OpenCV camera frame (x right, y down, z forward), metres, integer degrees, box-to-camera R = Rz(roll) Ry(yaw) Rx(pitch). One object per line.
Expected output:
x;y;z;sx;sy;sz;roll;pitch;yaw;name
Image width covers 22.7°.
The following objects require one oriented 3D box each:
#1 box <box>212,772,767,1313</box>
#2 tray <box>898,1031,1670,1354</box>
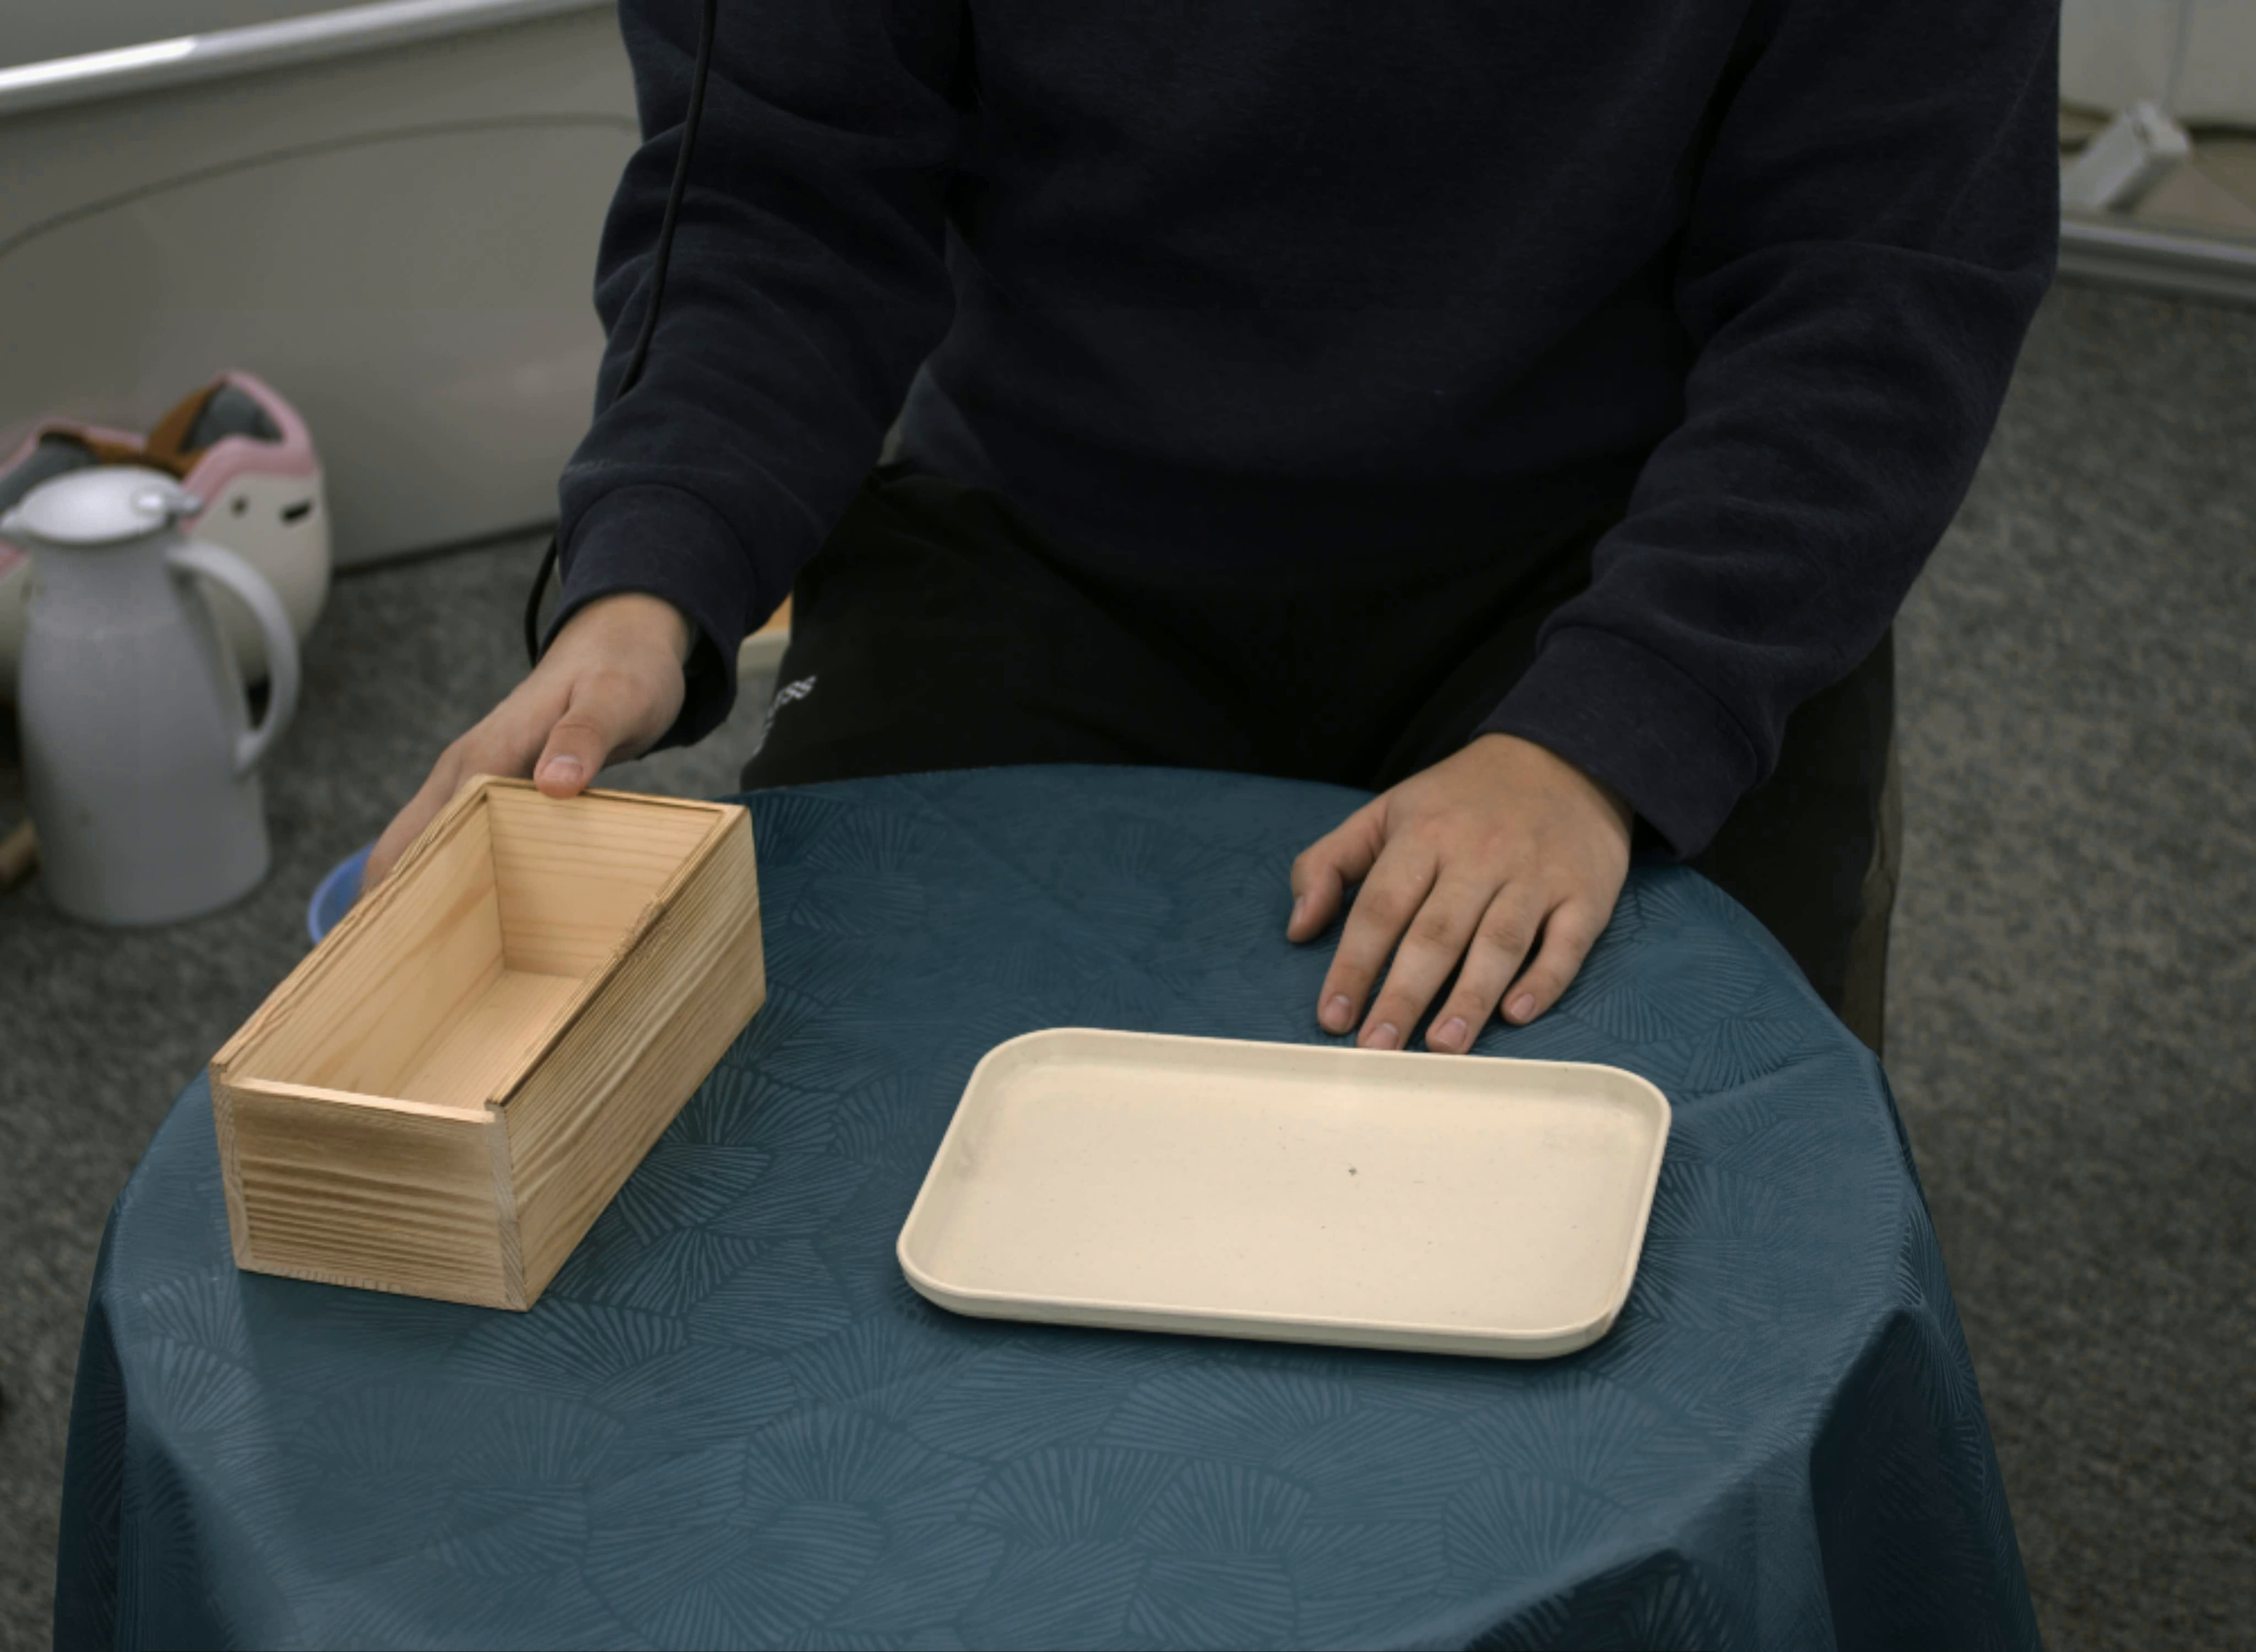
-0.211;0.070;1.898;0.107;0.079;0.215;7;29;17;box
0.053;0.120;1.844;0.238;0.017;0.174;3;27;11;tray
